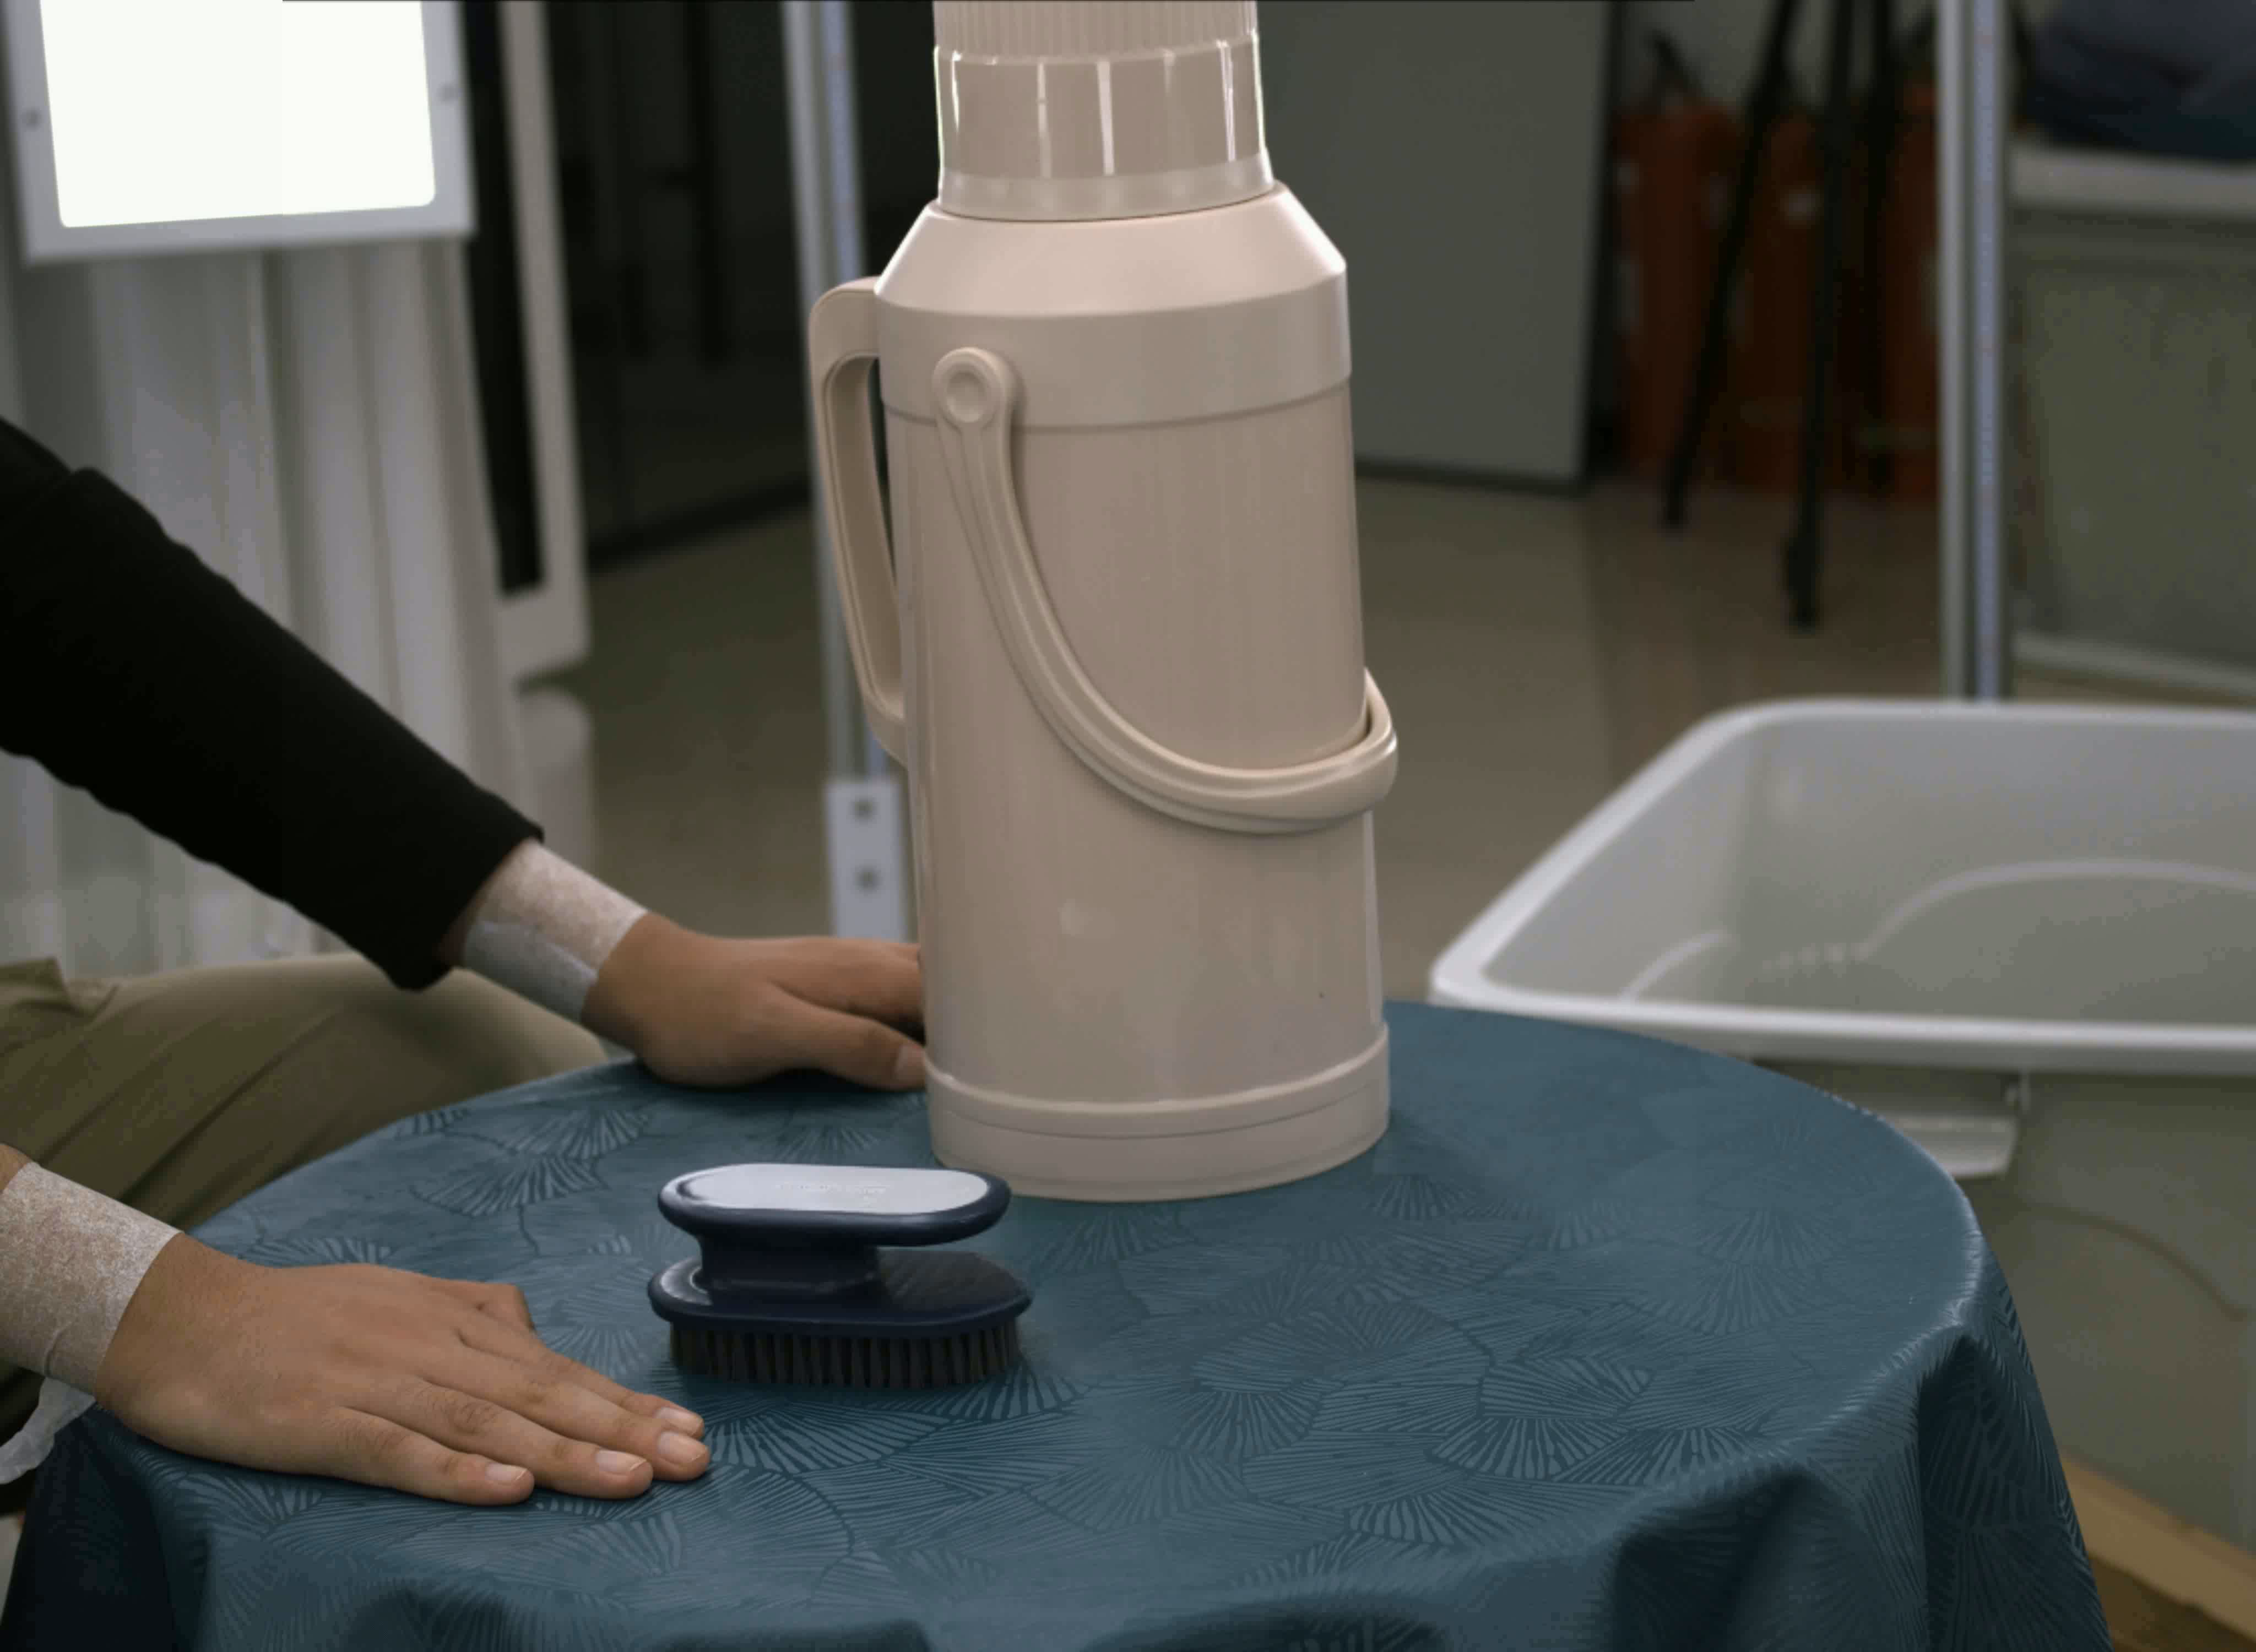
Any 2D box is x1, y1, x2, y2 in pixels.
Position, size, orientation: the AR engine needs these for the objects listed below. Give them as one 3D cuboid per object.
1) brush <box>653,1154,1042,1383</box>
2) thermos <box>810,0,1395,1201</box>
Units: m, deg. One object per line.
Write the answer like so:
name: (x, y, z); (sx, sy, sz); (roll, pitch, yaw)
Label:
brush: (-0.084, 0.134, 1.623); (0.121, 0.062, 0.067); (2, 11, 19)
thermos: (-0.012, -0.091, 1.798); (0.208, 0.410, 0.172); (5, 17, 33)
